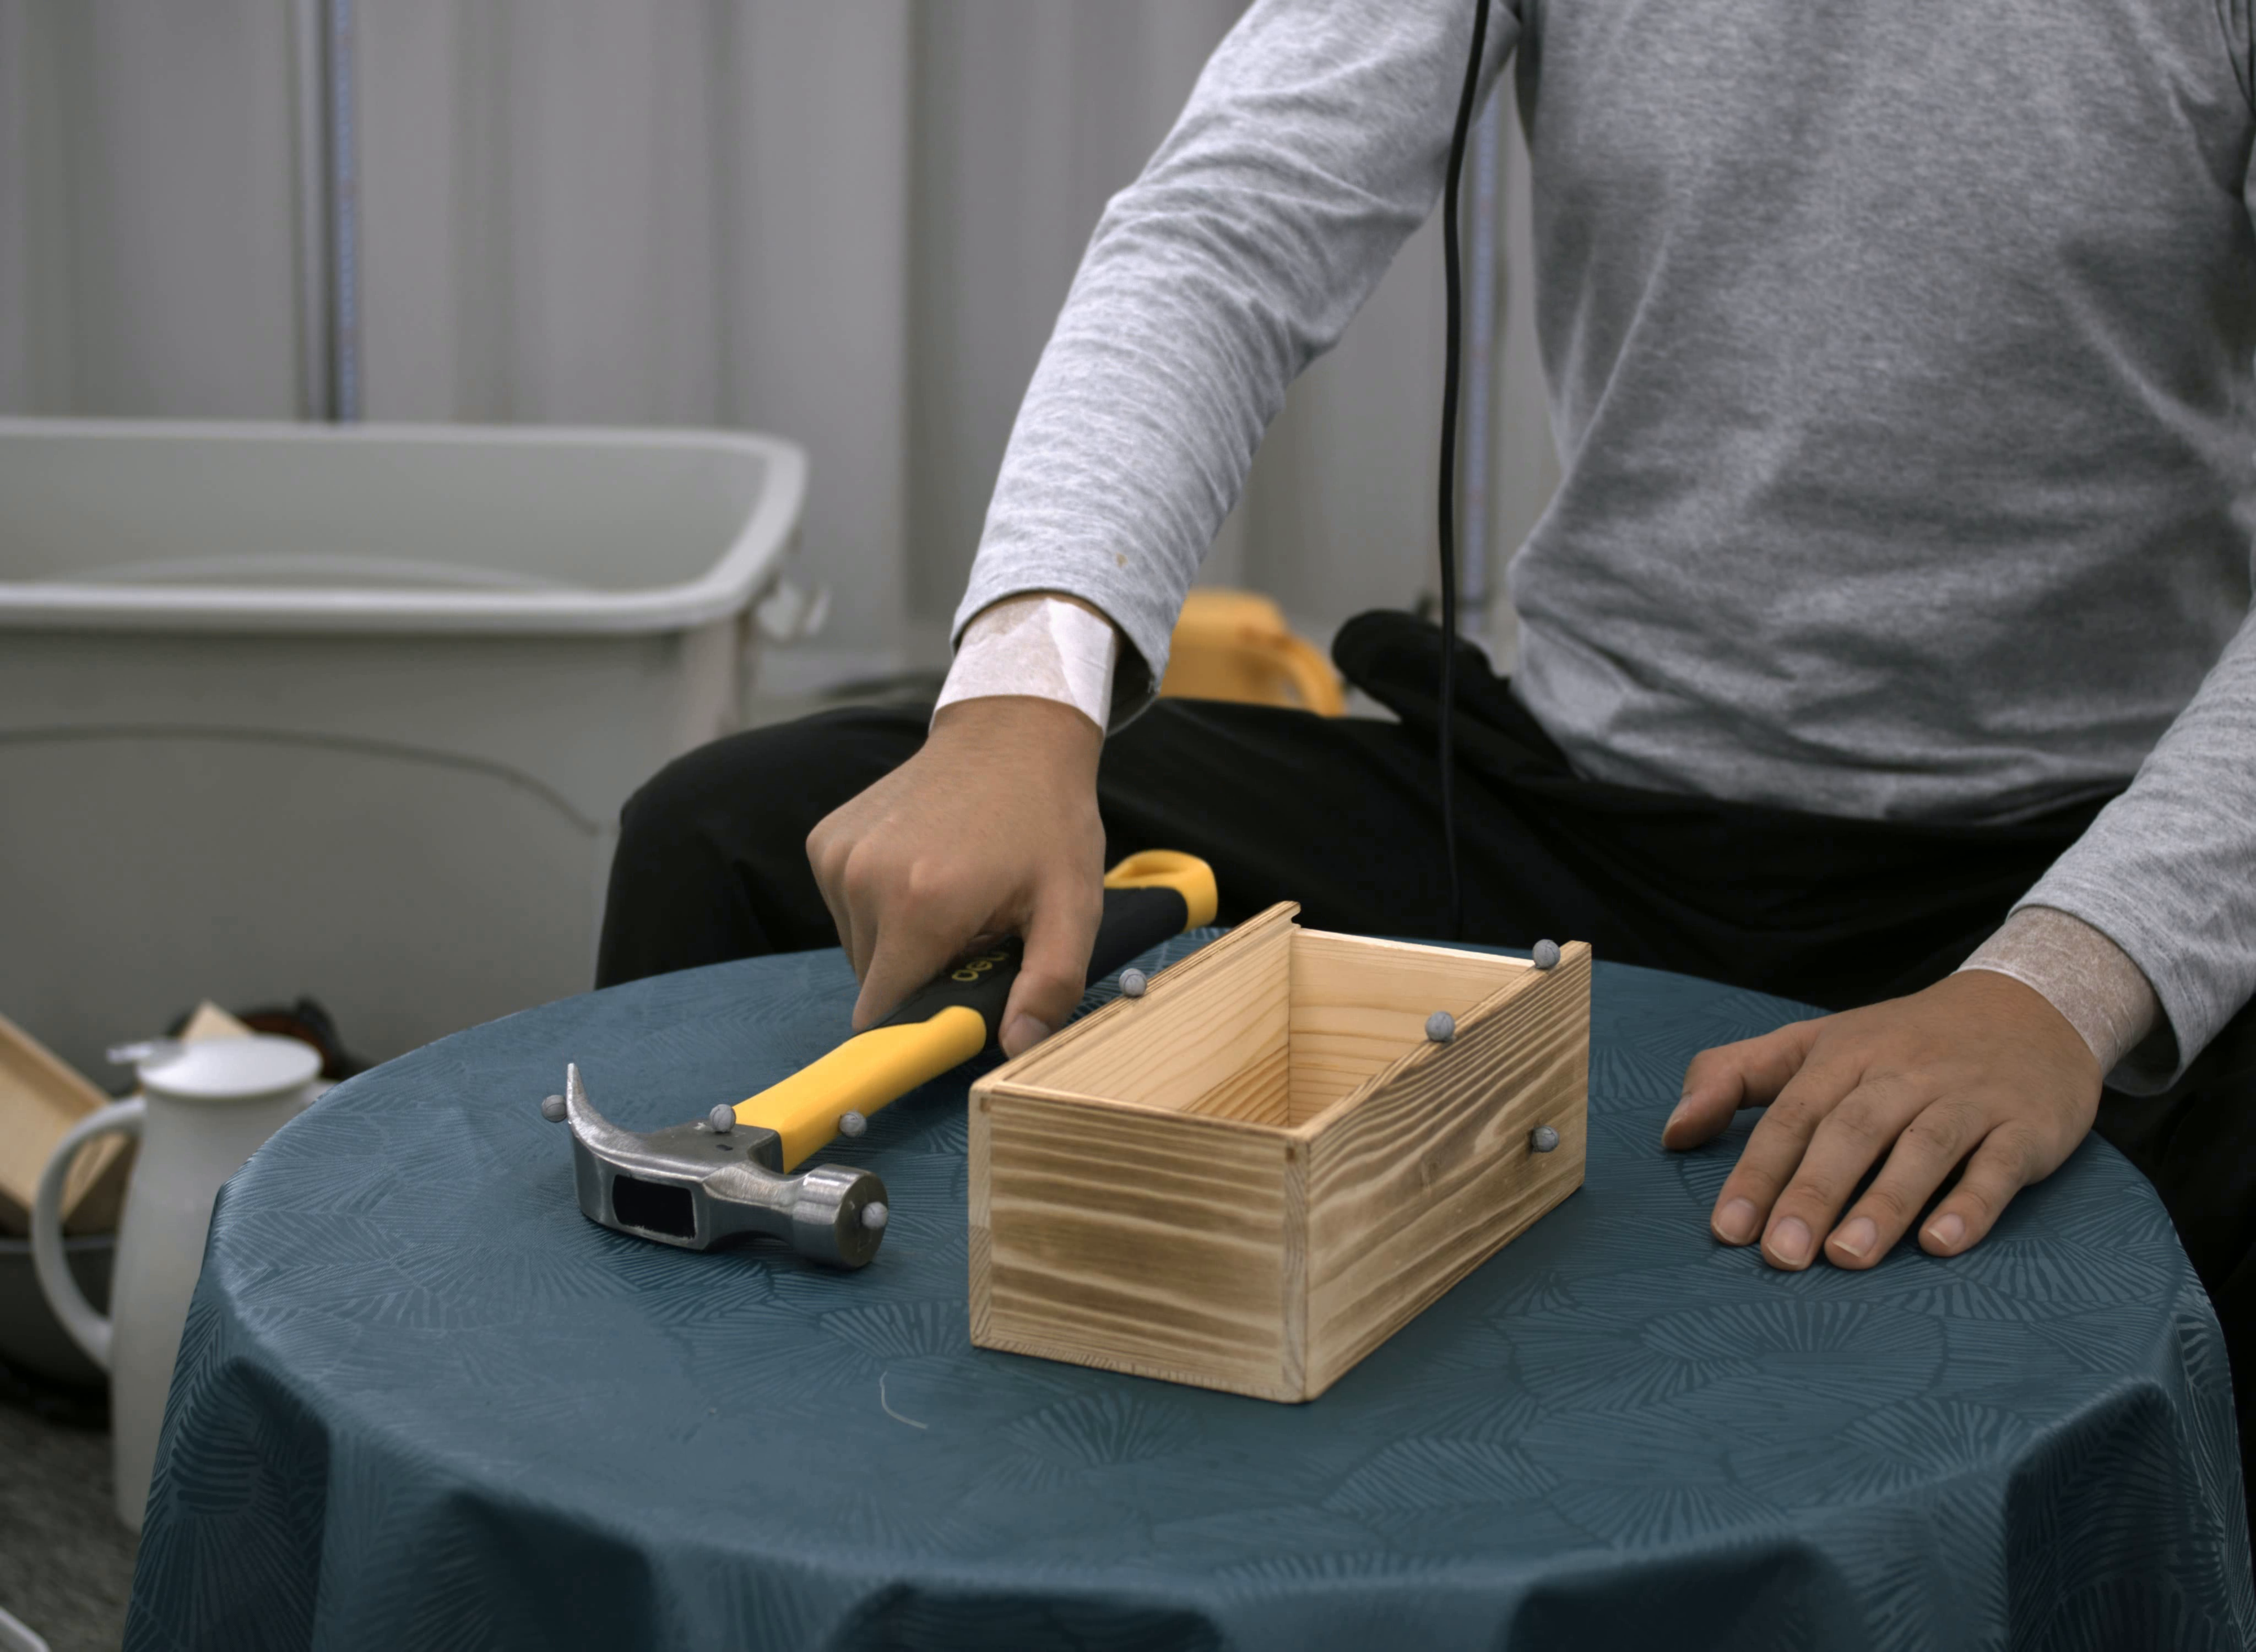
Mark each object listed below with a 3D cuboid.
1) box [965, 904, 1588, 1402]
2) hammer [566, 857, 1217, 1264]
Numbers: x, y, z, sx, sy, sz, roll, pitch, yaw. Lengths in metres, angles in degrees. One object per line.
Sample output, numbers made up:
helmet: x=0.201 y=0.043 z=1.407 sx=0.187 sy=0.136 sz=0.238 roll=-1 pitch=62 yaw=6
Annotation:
box: x=0.048 y=0.092 z=1.554 sx=0.106 sy=0.081 sz=0.212 roll=7 pitch=17 yaw=25
hammer: x=-0.062 y=0.066 z=1.709 sx=0.130 sy=0.032 sz=0.339 roll=6 pitch=19 yaw=28
